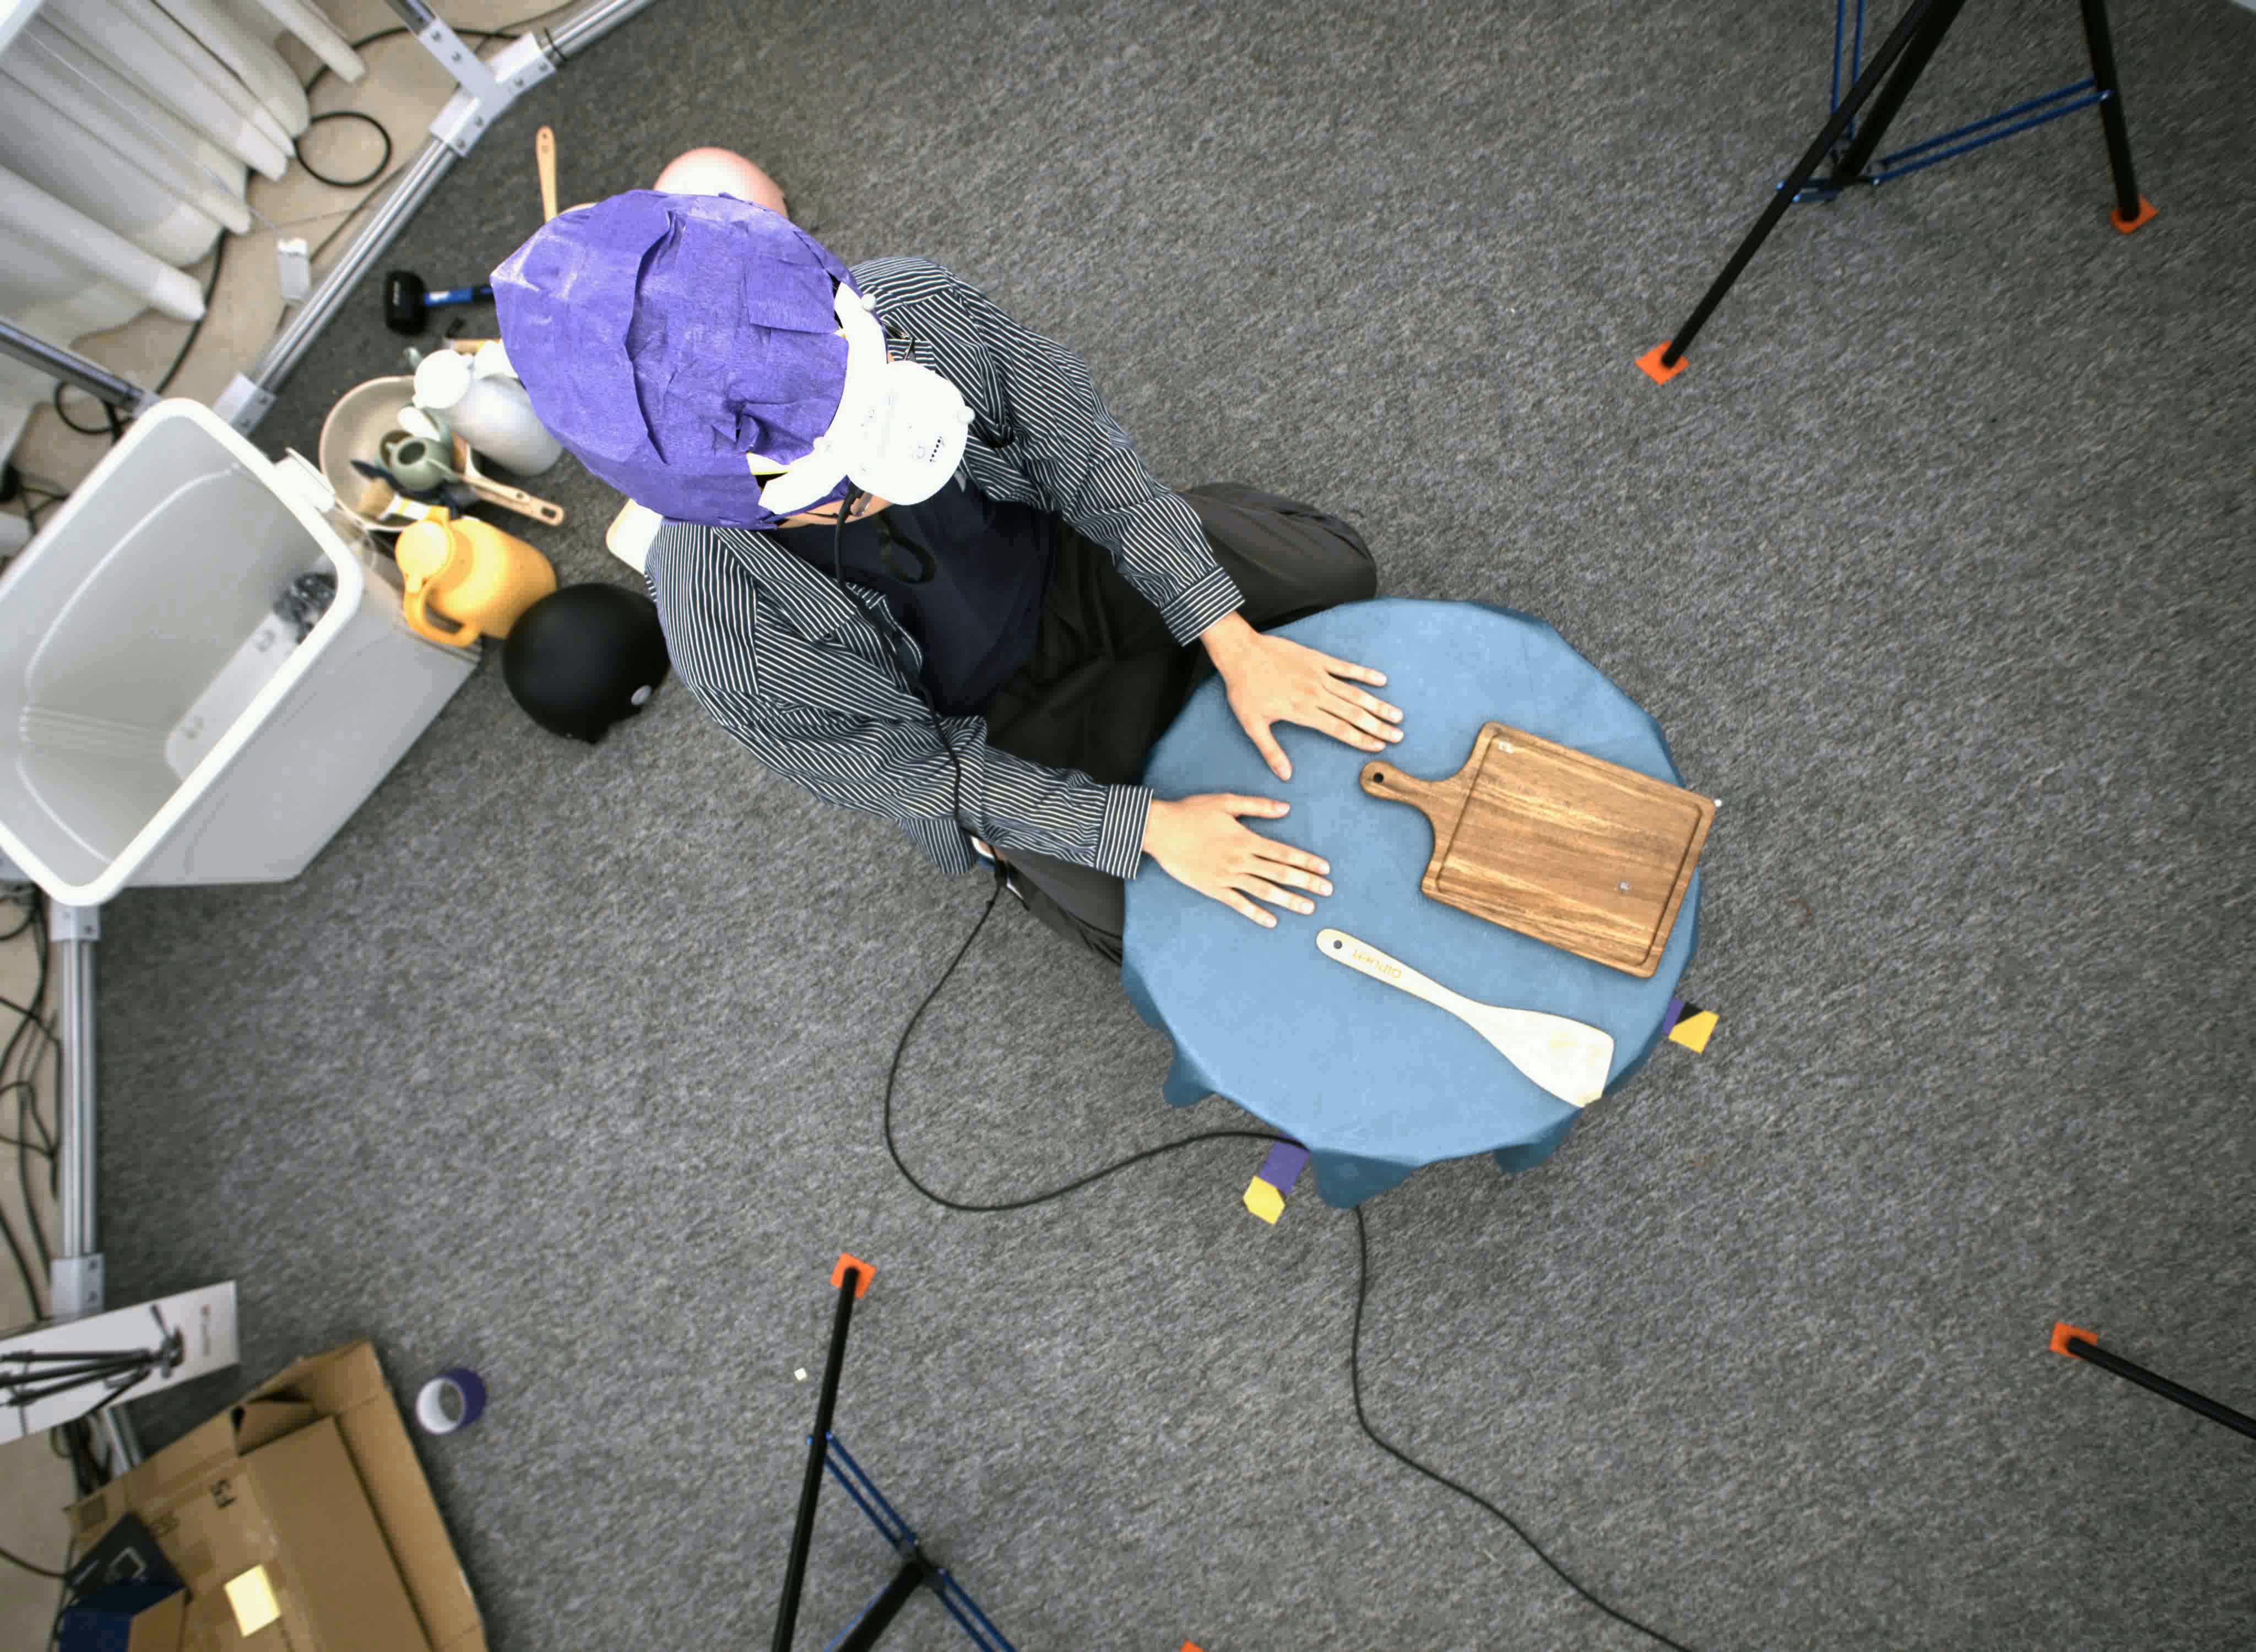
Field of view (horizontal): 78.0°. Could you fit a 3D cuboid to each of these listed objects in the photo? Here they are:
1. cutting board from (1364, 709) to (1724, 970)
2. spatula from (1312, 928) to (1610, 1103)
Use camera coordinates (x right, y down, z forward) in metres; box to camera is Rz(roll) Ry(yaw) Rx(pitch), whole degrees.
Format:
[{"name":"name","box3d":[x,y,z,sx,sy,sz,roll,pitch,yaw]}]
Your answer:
[{"name":"cutting board","box3d":[0.411,-0.008,1.416,0.352,0.023,0.201,22,91,10]},{"name":"spatula","box3d":[0.341,0.179,1.423,0.327,0.016,0.080,25,91,10]}]
